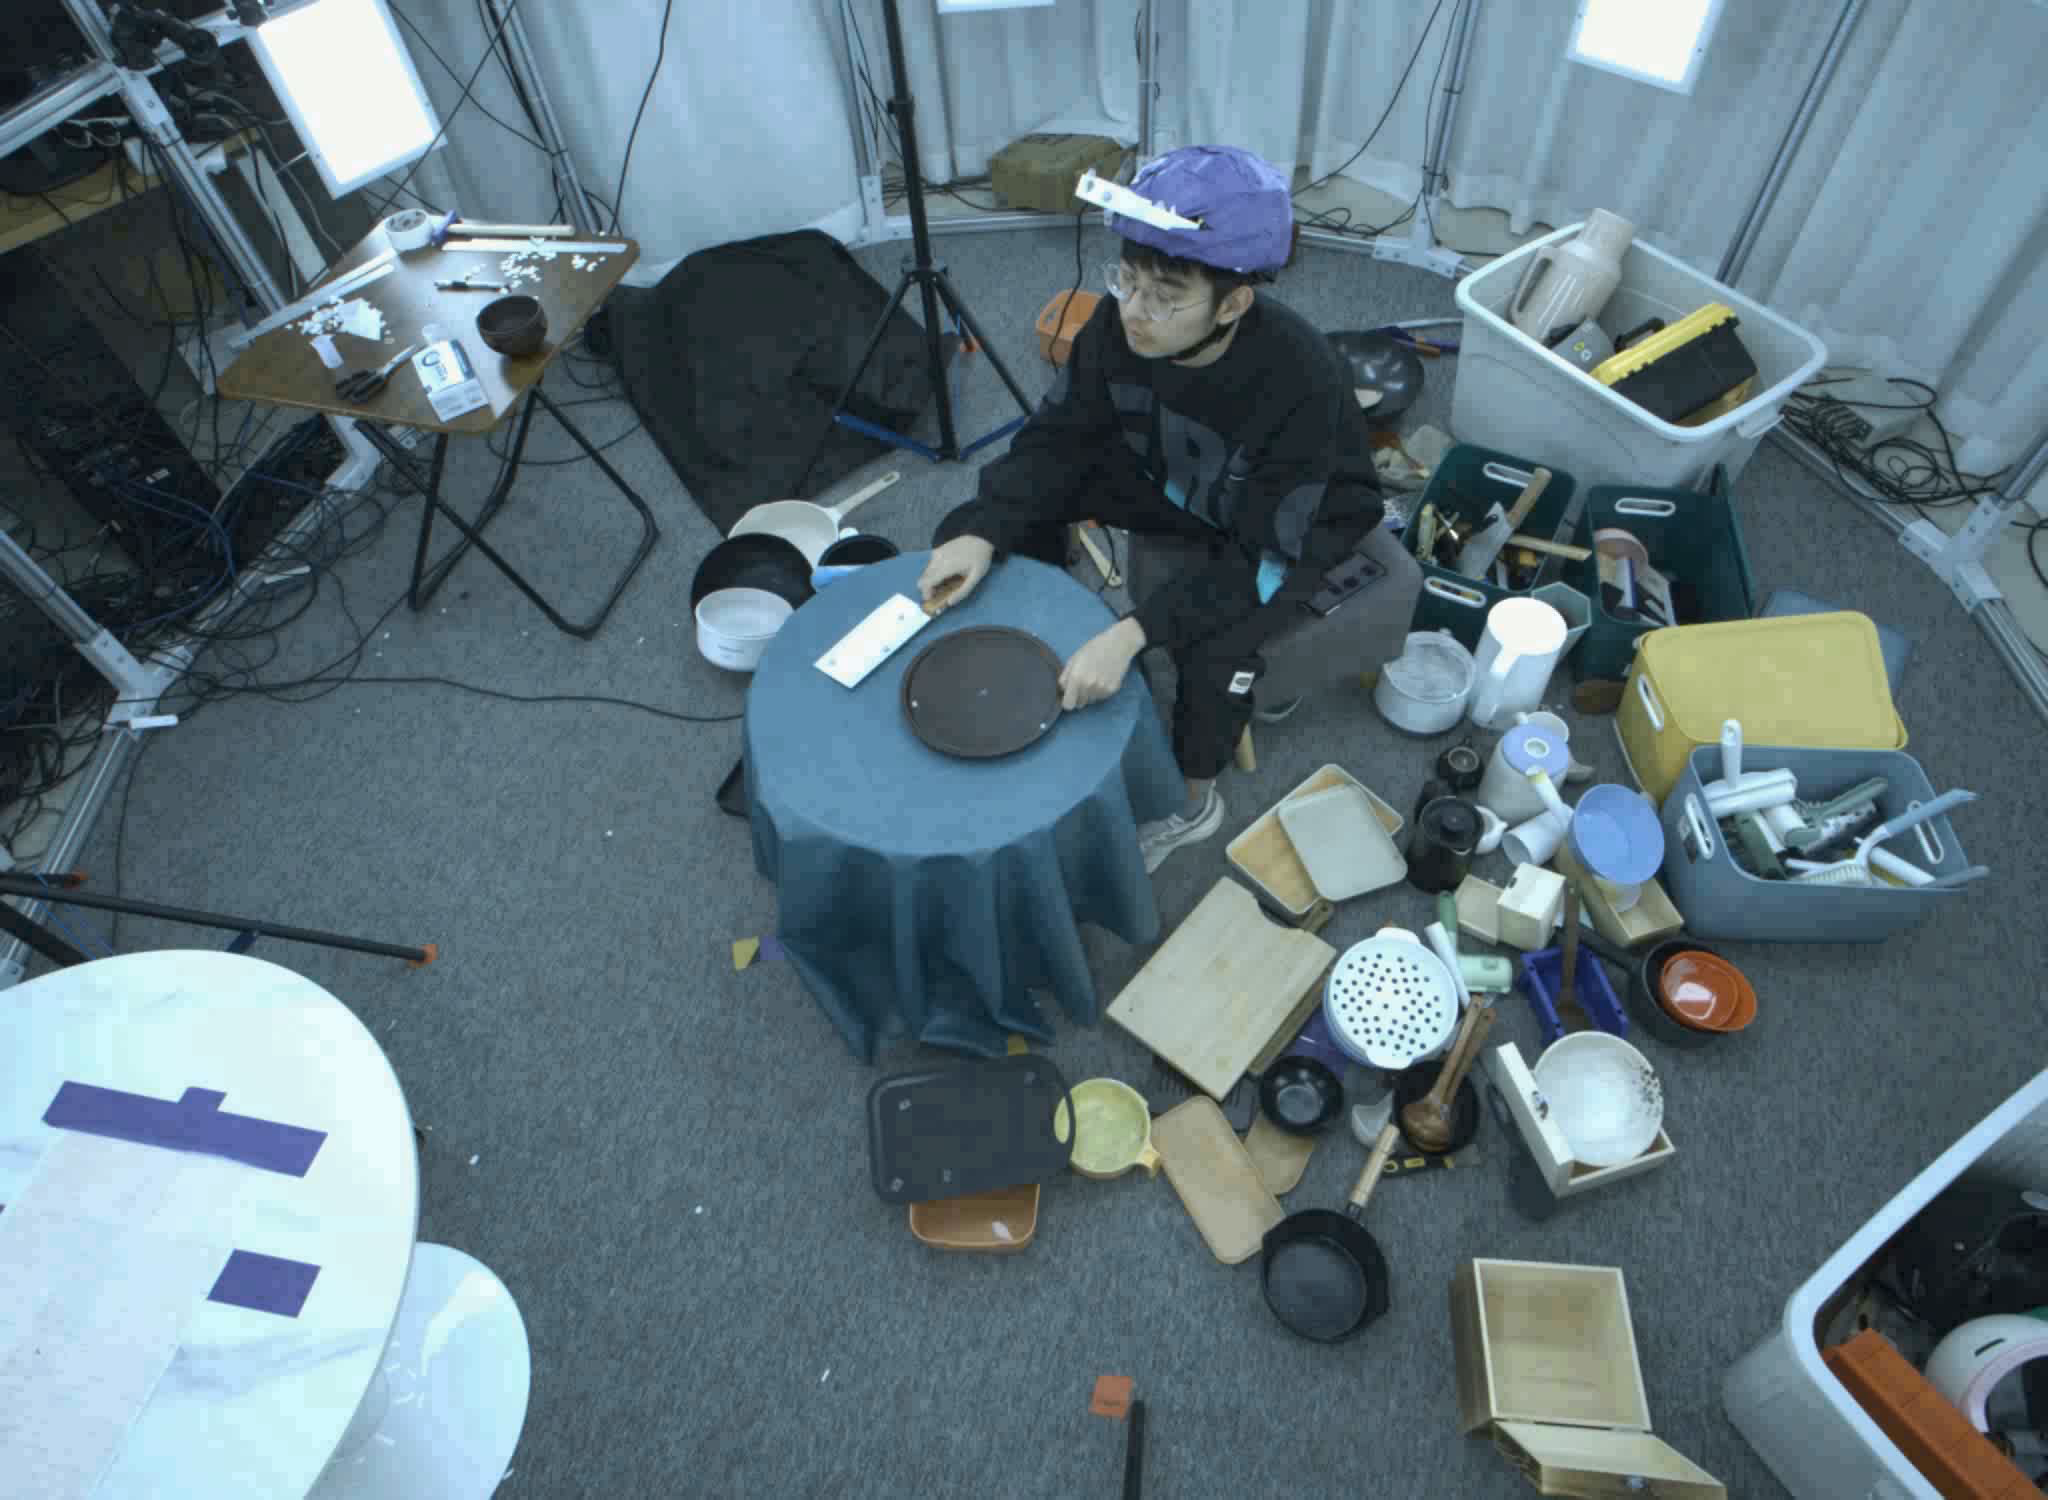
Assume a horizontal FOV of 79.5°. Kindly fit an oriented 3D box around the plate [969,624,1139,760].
[{"bbox_3d":[0.044,-0.088,1.832,0.254,0.029,0.252,0,56,1],"label":"plate"}]

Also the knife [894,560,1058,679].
[{"bbox_3d":[-0.078,-0.218,1.936,0.308,0.021,0.091,-40,57,-22],"label":"knife"}]
